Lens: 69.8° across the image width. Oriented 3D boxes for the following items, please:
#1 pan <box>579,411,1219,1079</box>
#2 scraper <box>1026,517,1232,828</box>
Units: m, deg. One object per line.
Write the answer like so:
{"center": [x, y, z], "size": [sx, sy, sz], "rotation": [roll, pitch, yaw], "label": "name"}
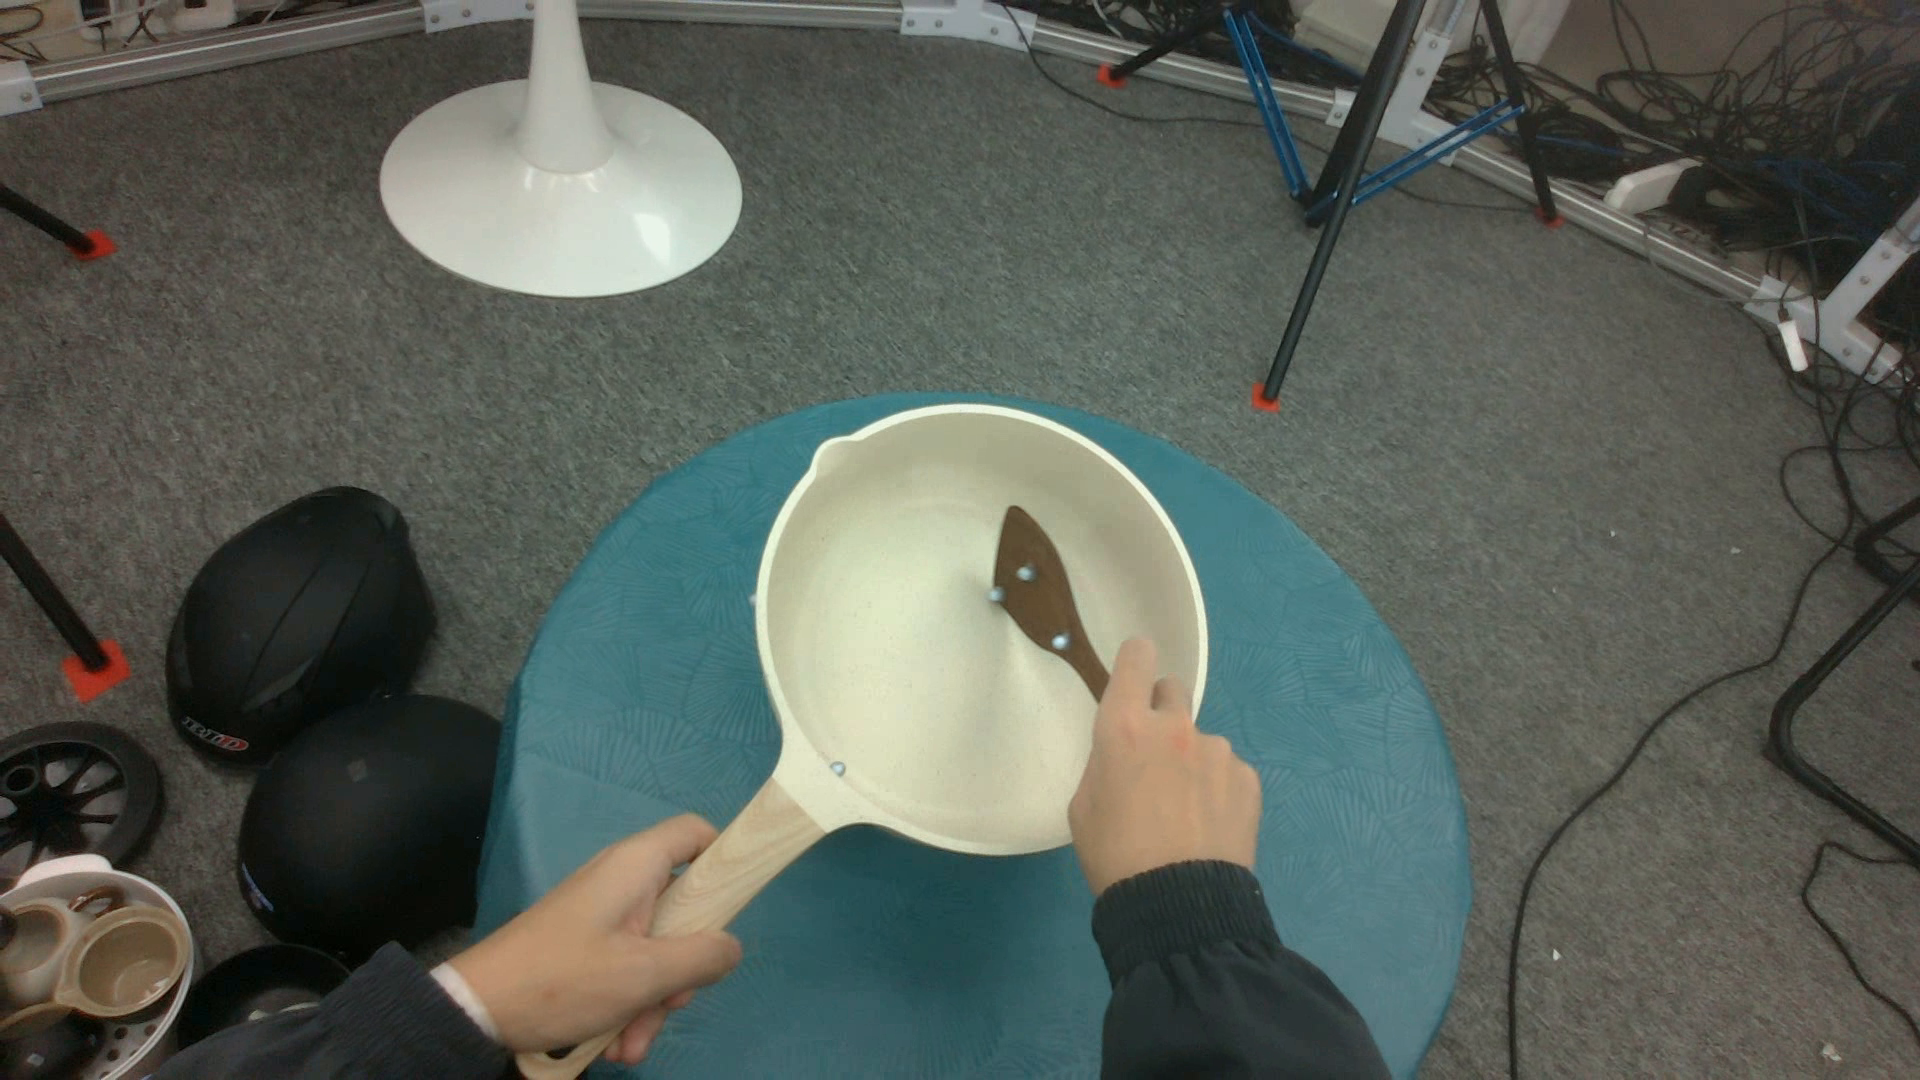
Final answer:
{"center": [-0.040, 0.116, 0.736], "size": [0.263, 0.101, 0.436], "rotation": [42, 65, 3], "label": "pan"}
{"center": [0.088, 0.072, 0.748], "size": [0.011, 0.075, 0.212], "rotation": [-11, 42, -22], "label": "scraper"}
